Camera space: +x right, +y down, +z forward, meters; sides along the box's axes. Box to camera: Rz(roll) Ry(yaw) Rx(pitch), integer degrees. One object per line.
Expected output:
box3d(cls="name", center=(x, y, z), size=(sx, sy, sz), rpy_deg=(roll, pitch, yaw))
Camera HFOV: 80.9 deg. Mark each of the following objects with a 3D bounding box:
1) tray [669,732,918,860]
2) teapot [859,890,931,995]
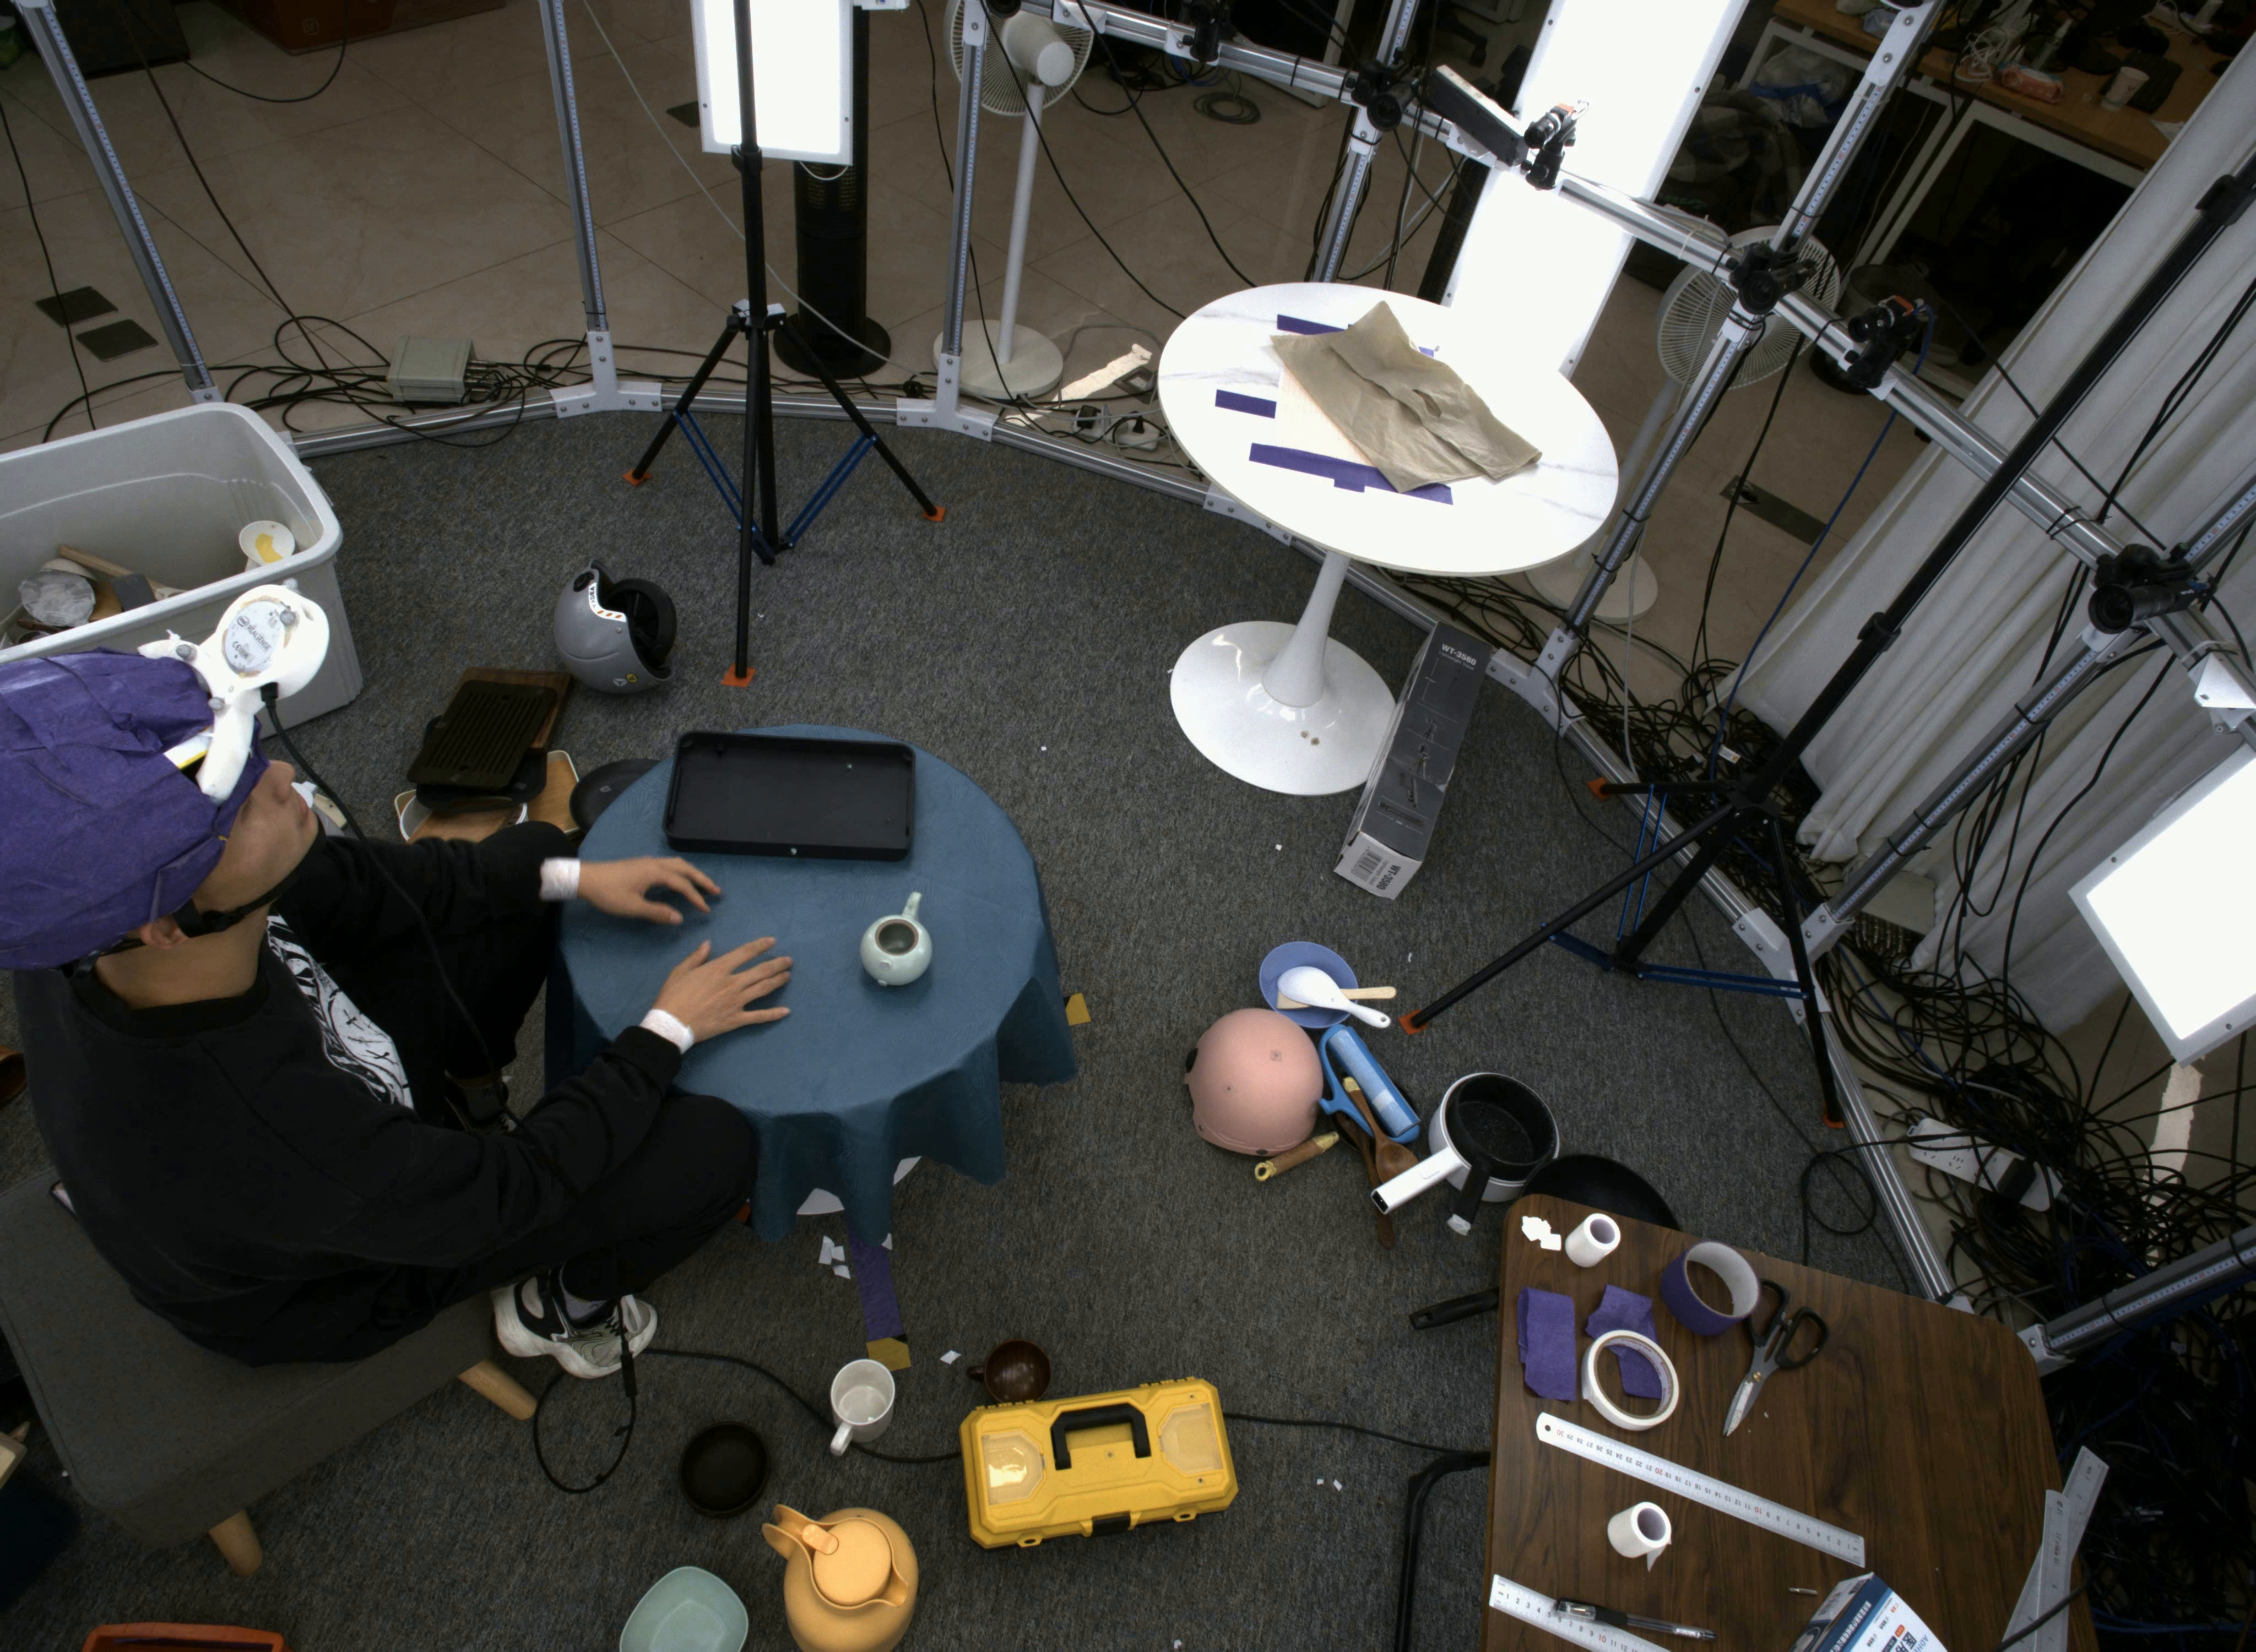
box3d(cls="tray", center=(-0.440, -0.041, 1.725), size=(0.318, 0.038, 0.180), rpy_deg=(2, 53, -14))
box3d(cls="teapot", center=(-0.286, 0.149, 1.599), size=(0.087, 0.076, 0.142), rpy_deg=(20, 50, 2))
